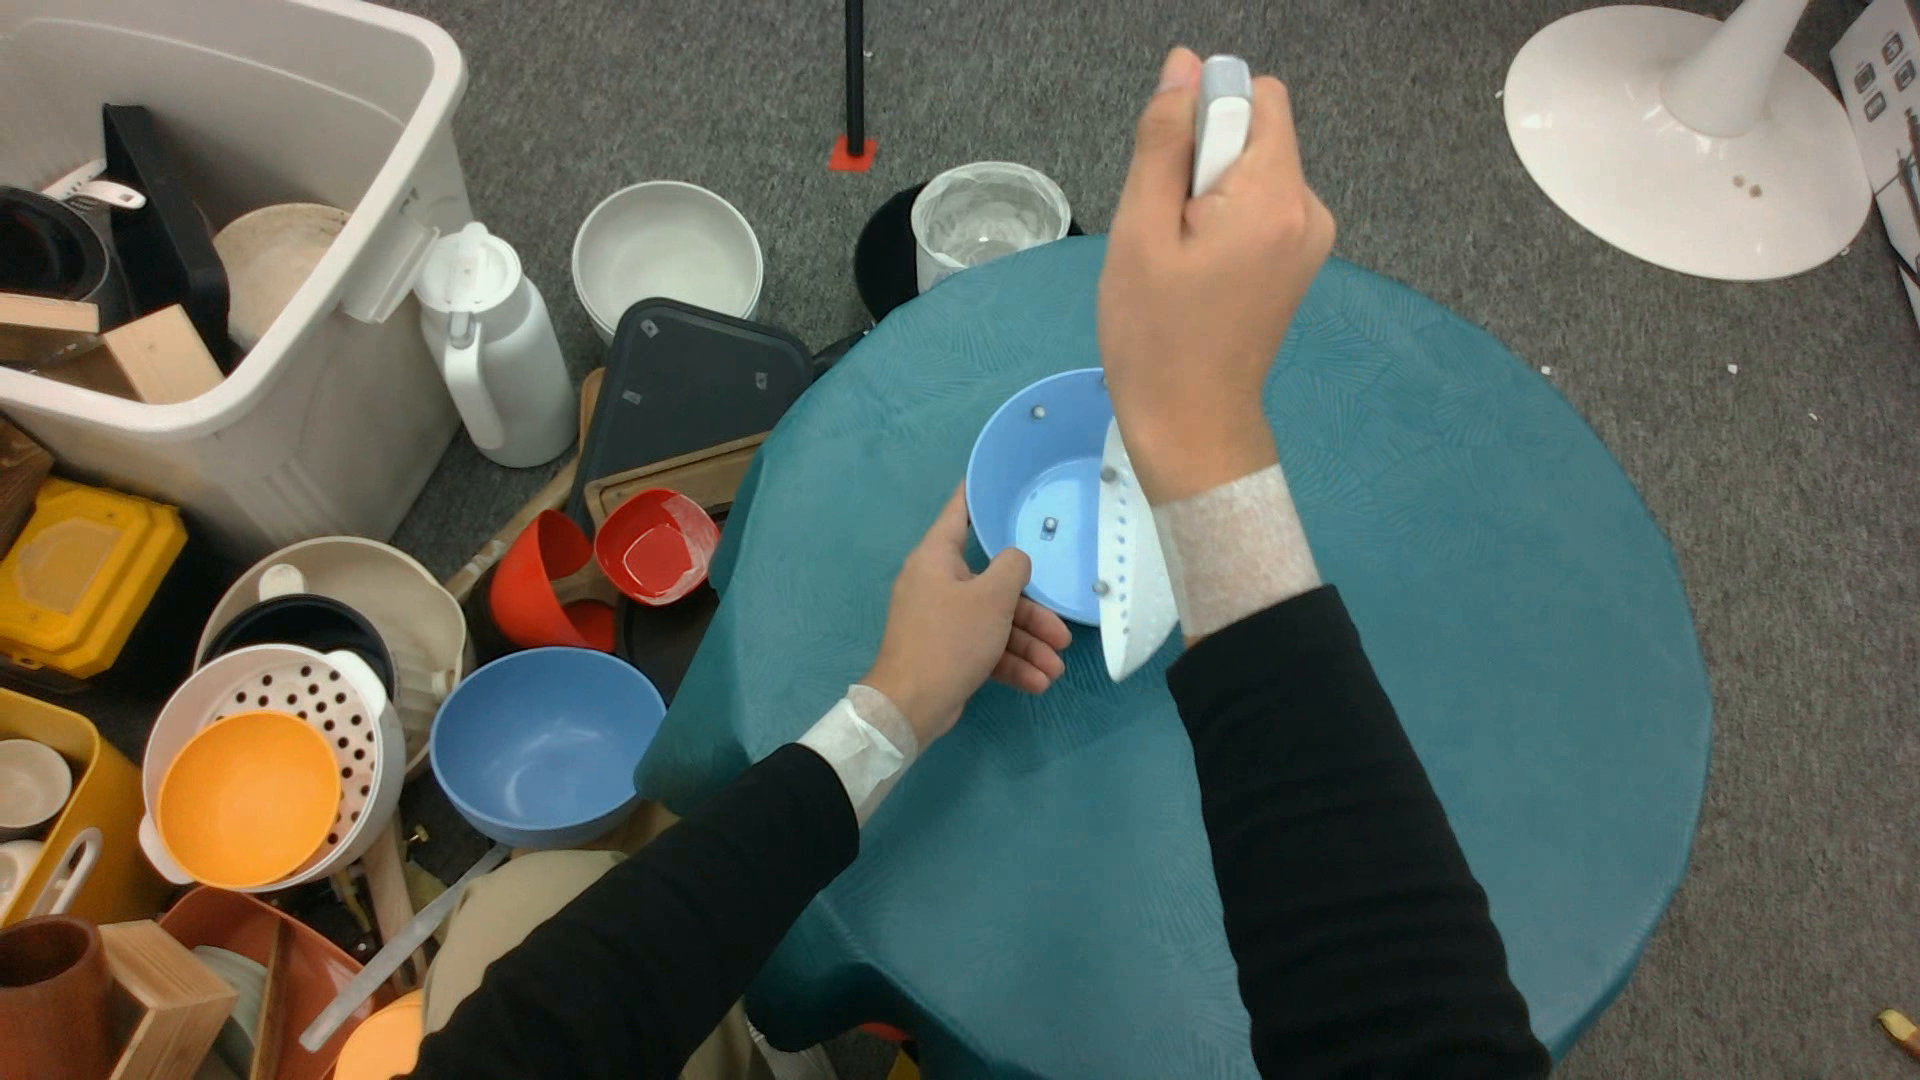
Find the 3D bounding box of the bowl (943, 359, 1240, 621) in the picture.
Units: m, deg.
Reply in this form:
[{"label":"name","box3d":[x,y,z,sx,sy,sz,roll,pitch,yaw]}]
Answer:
[{"label":"bowl","box3d":[0.076,-0.019,0.834,0.176,0.070,0.177,2,63,-4]}]

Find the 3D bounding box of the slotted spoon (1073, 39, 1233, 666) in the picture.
[{"label":"slotted spoon","box3d":[0.076,-0.065,0.601,0.046,0.348,0.136,-2,56,2]}]
